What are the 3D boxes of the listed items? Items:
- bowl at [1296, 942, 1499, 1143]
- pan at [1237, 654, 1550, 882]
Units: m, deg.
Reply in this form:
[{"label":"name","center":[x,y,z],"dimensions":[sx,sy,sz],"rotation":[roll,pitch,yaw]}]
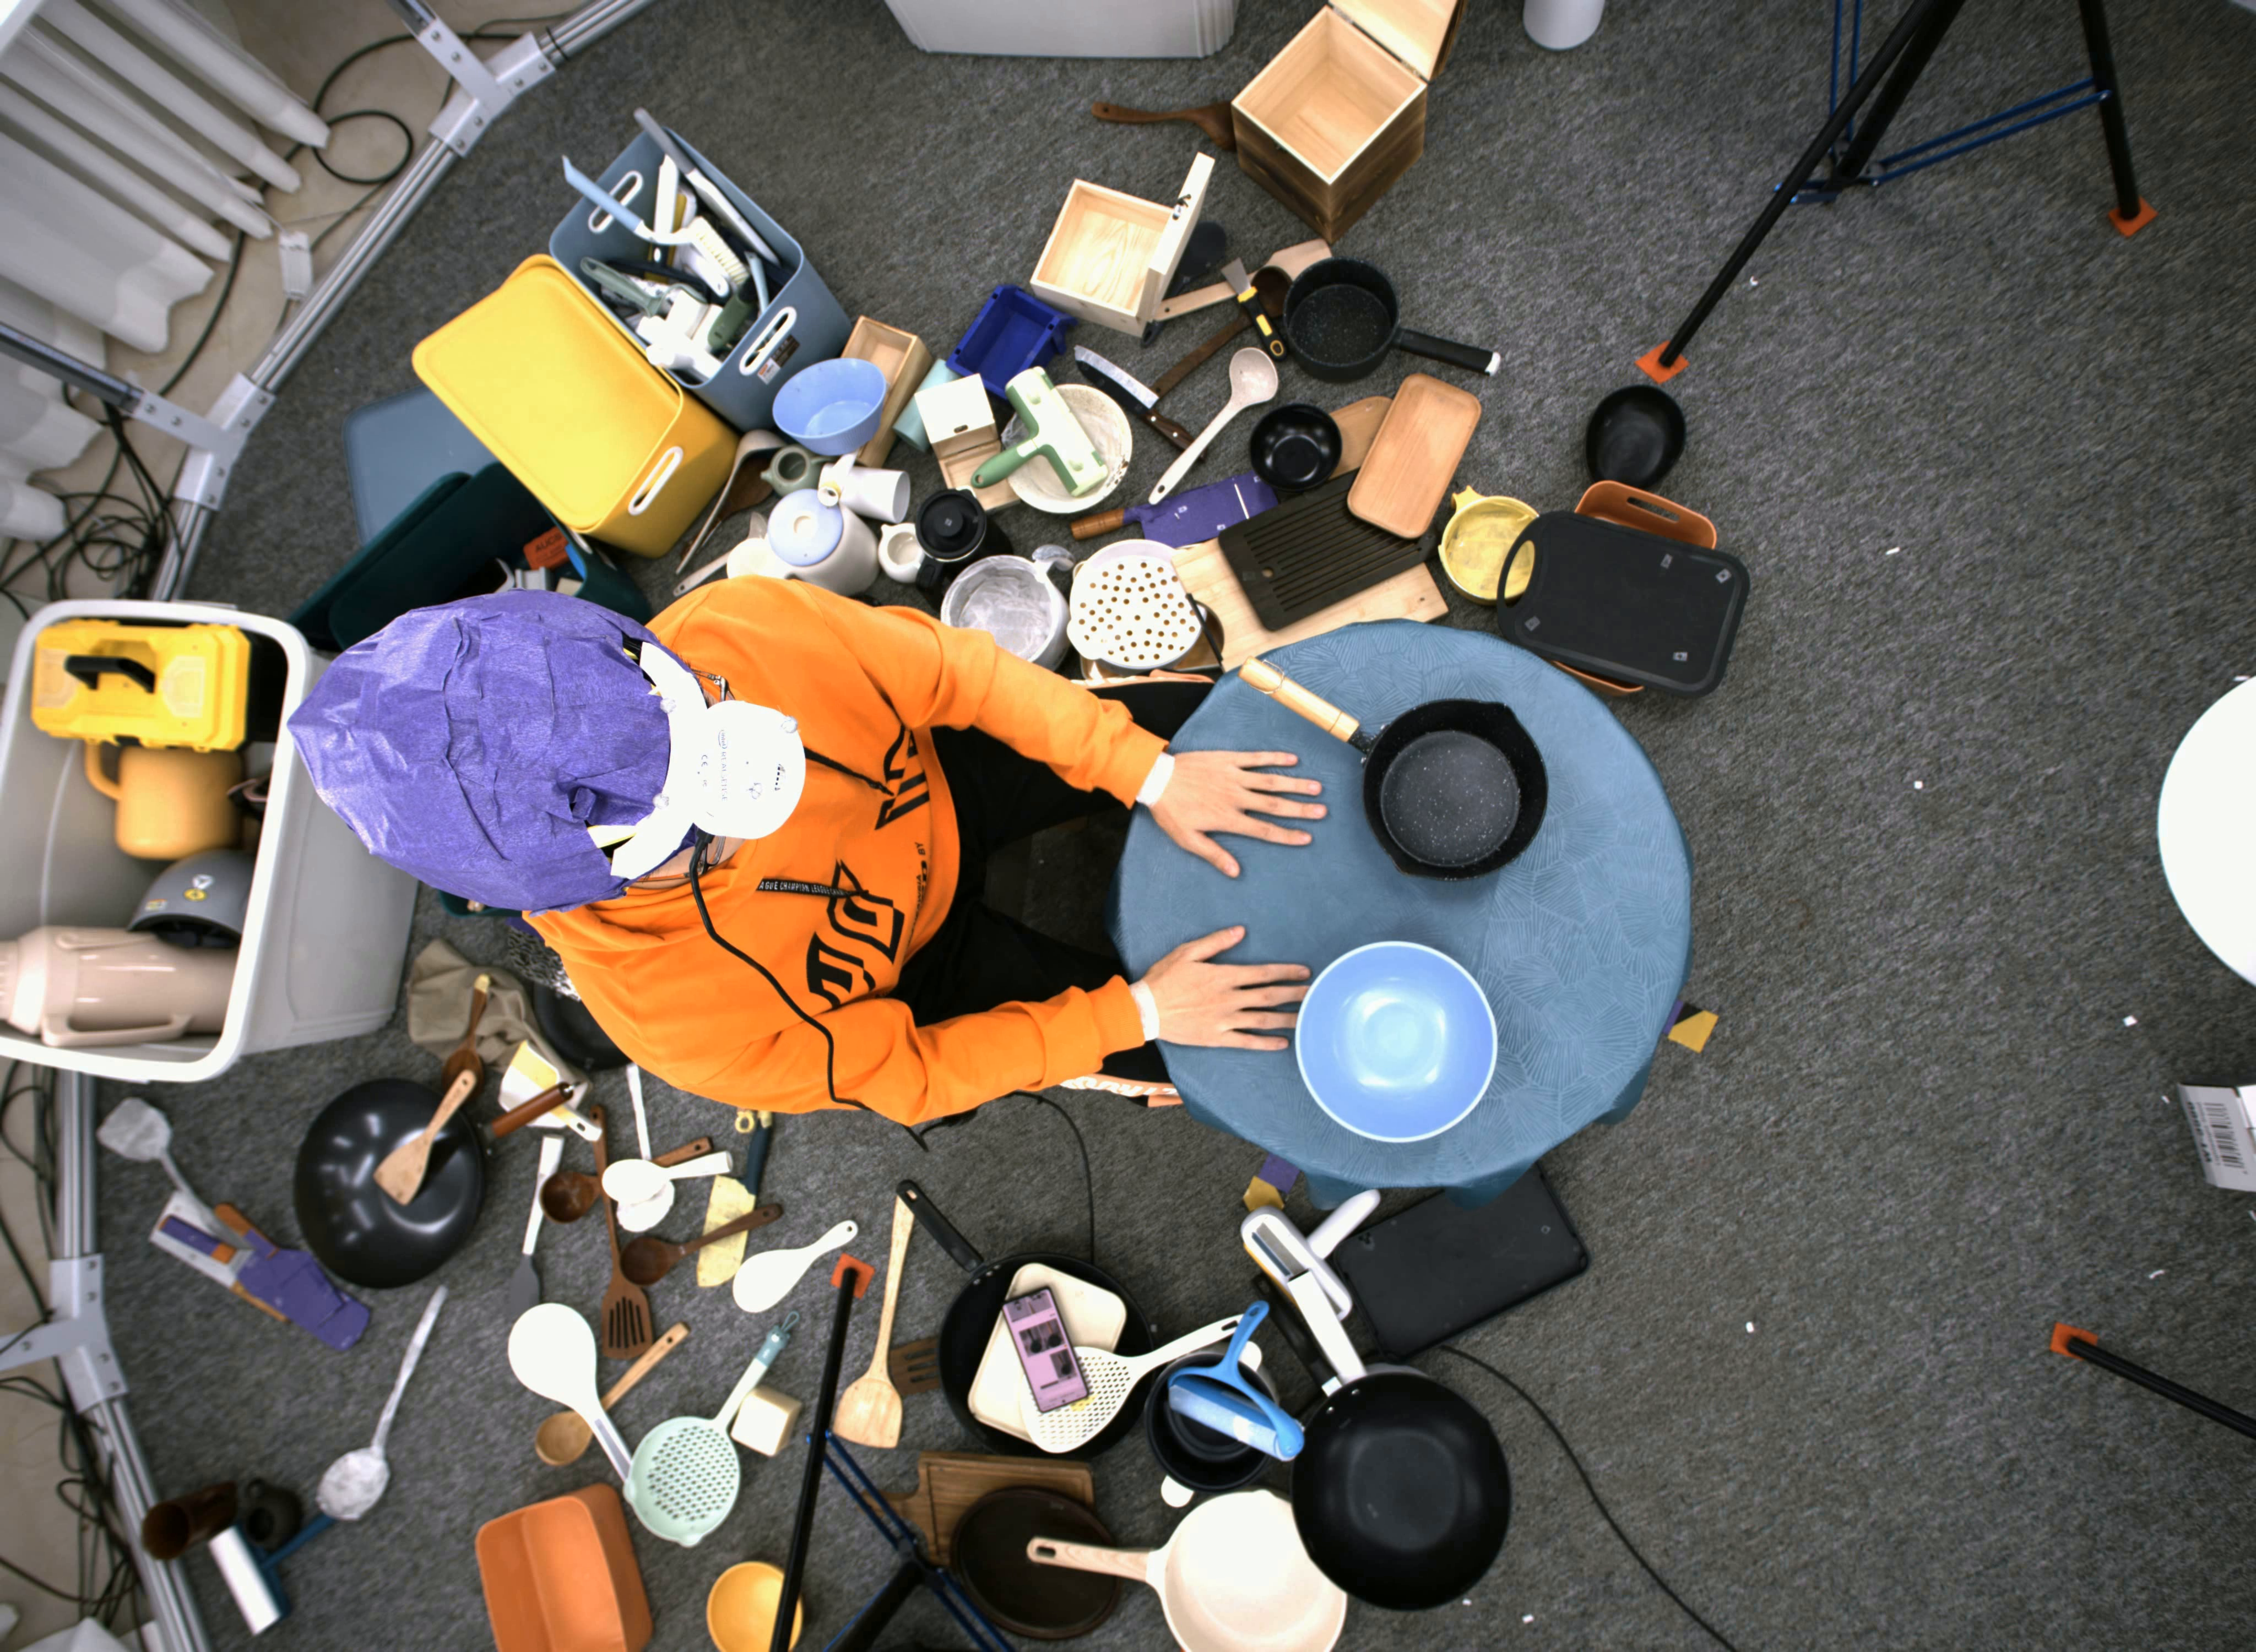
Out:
[{"label":"bowl","center":[0.271,0.215,1.403],"dimensions":[0.197,0.095,0.196],"rotation":[-1,87,9]},{"label":"pan","center":[0.263,-0.075,1.414],"dimensions":[0.342,0.108,0.208],"rotation":[30,93,9]}]
